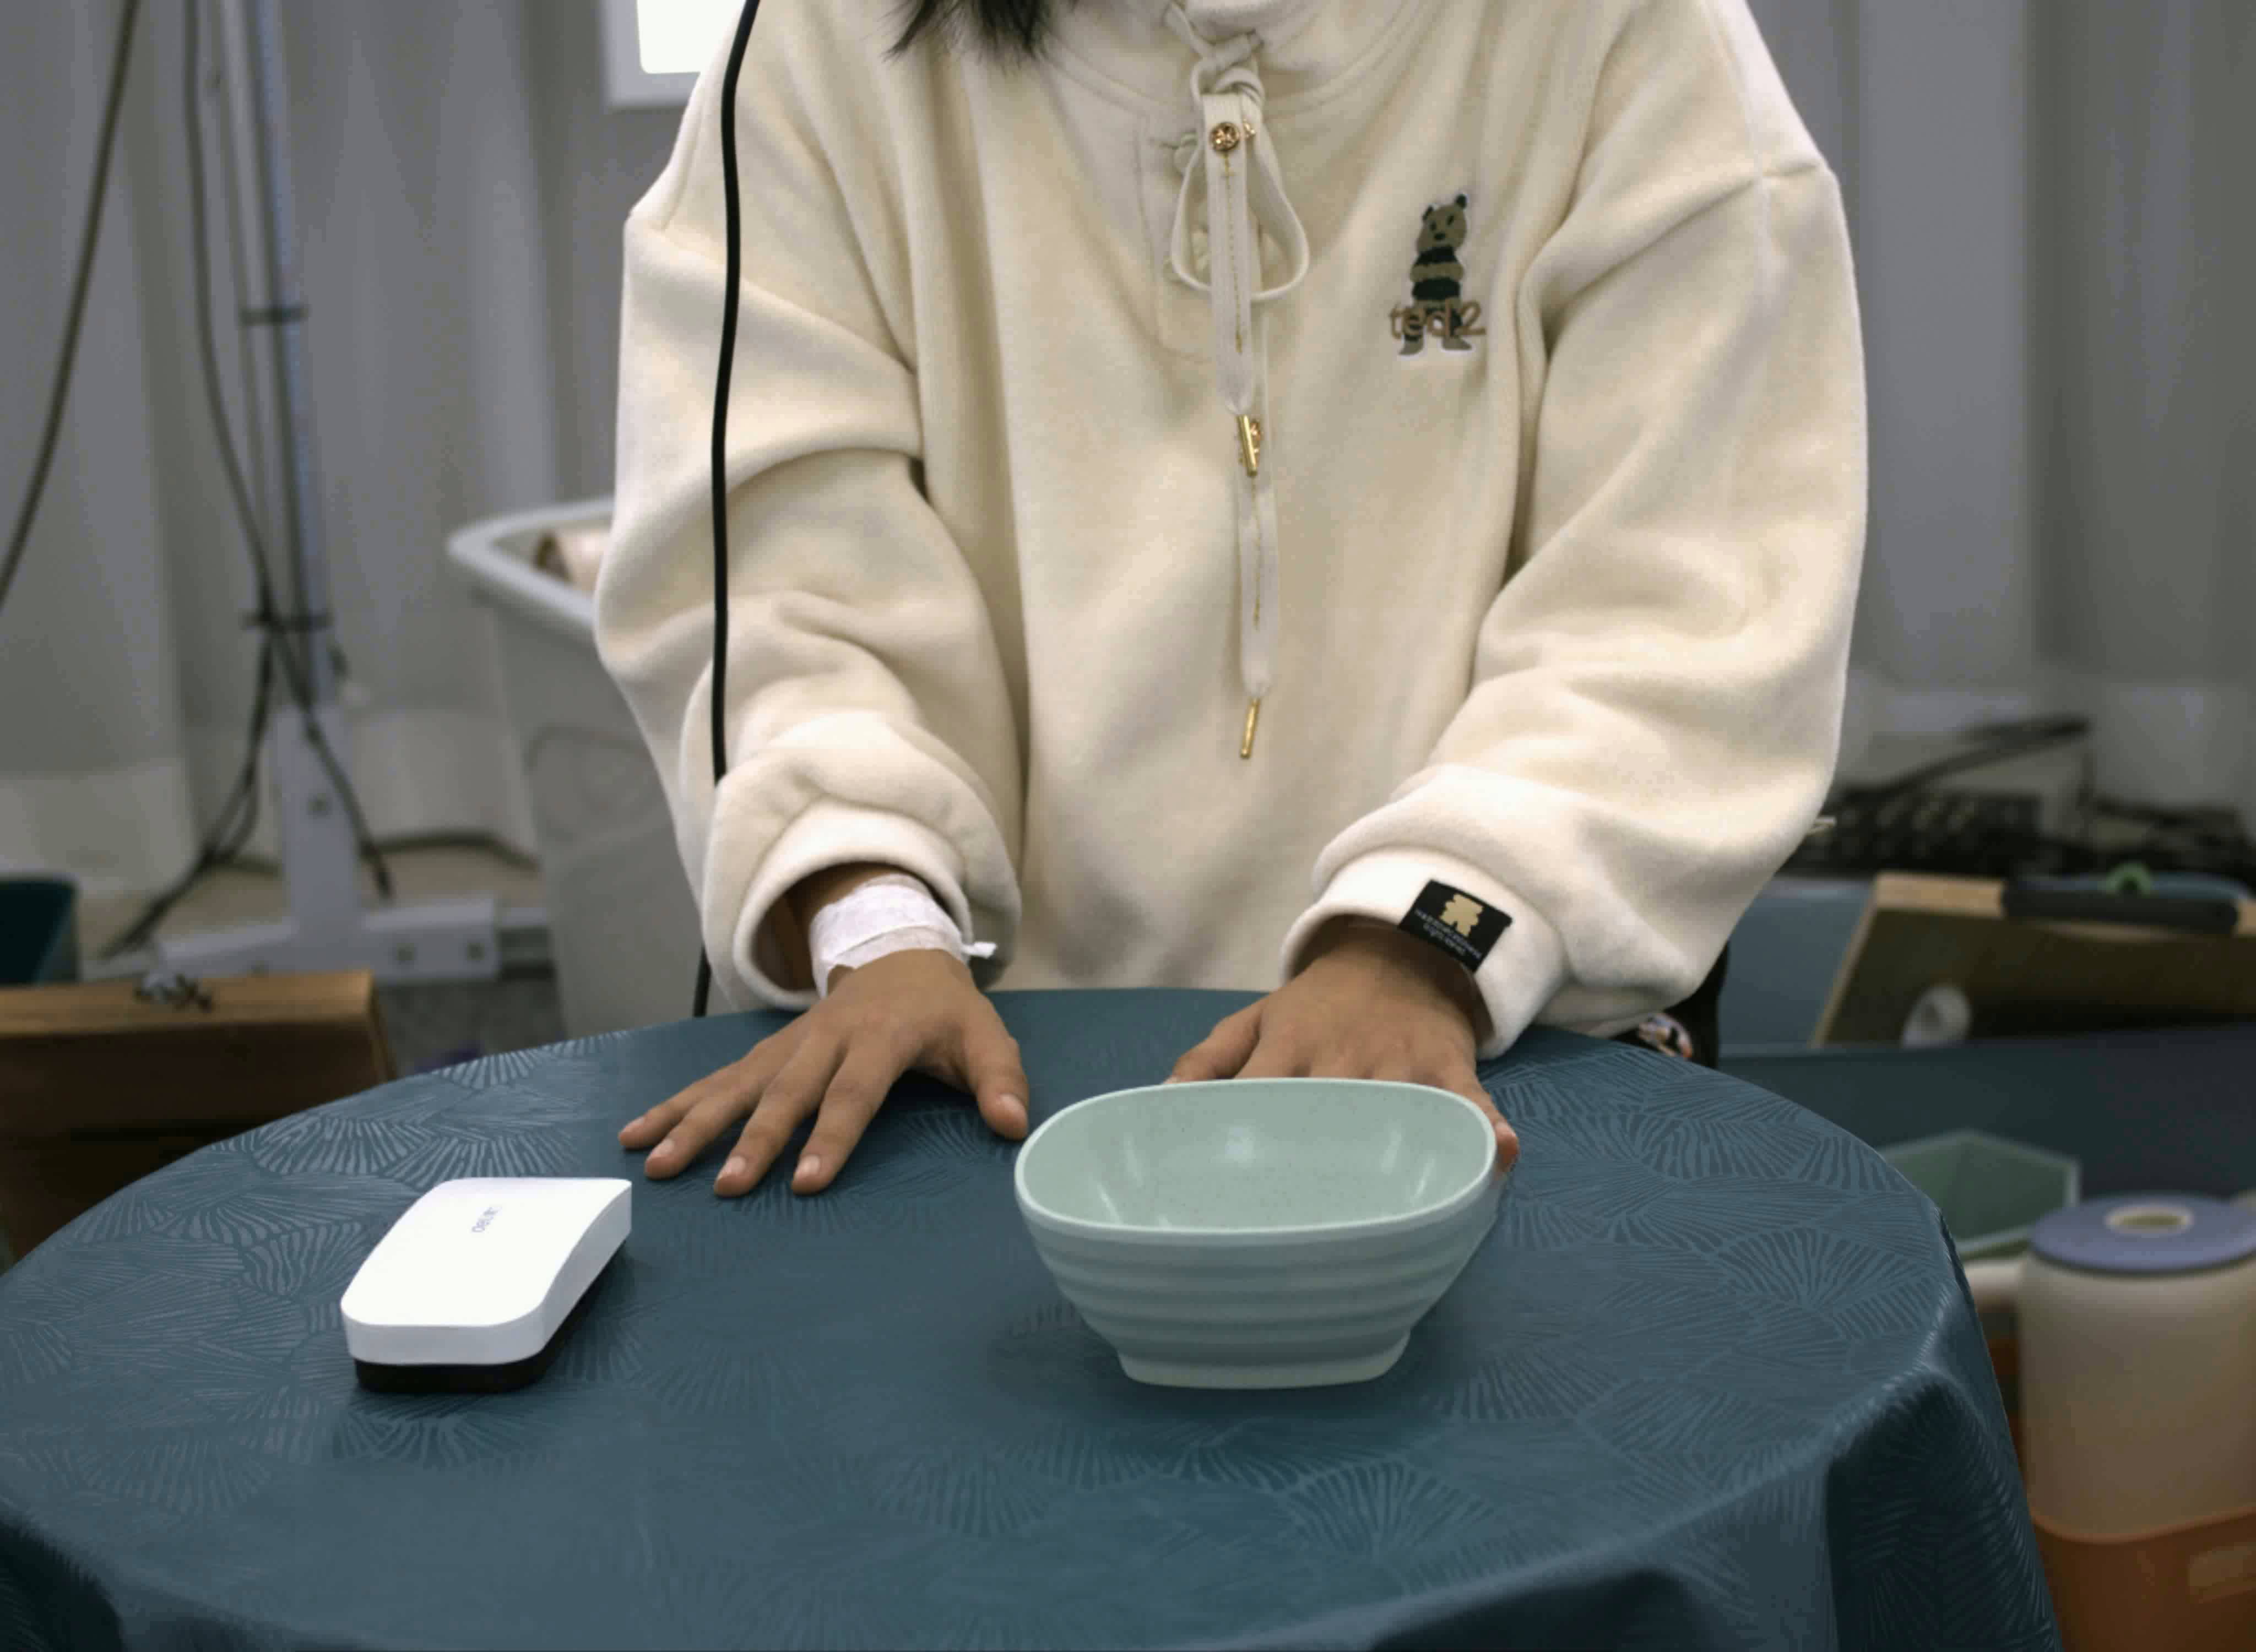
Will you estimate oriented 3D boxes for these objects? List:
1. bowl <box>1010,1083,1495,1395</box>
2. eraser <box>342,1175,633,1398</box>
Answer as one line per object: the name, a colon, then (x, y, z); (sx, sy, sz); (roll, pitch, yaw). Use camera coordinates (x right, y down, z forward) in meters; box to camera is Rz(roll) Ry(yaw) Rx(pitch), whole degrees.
bowl: (0.036, 0.122, 1.573); (0.151, 0.058, 0.152); (-1, 14, 0)
eraser: (-0.187, 0.132, 1.625); (0.063, 0.034, 0.132); (0, 15, 10)
